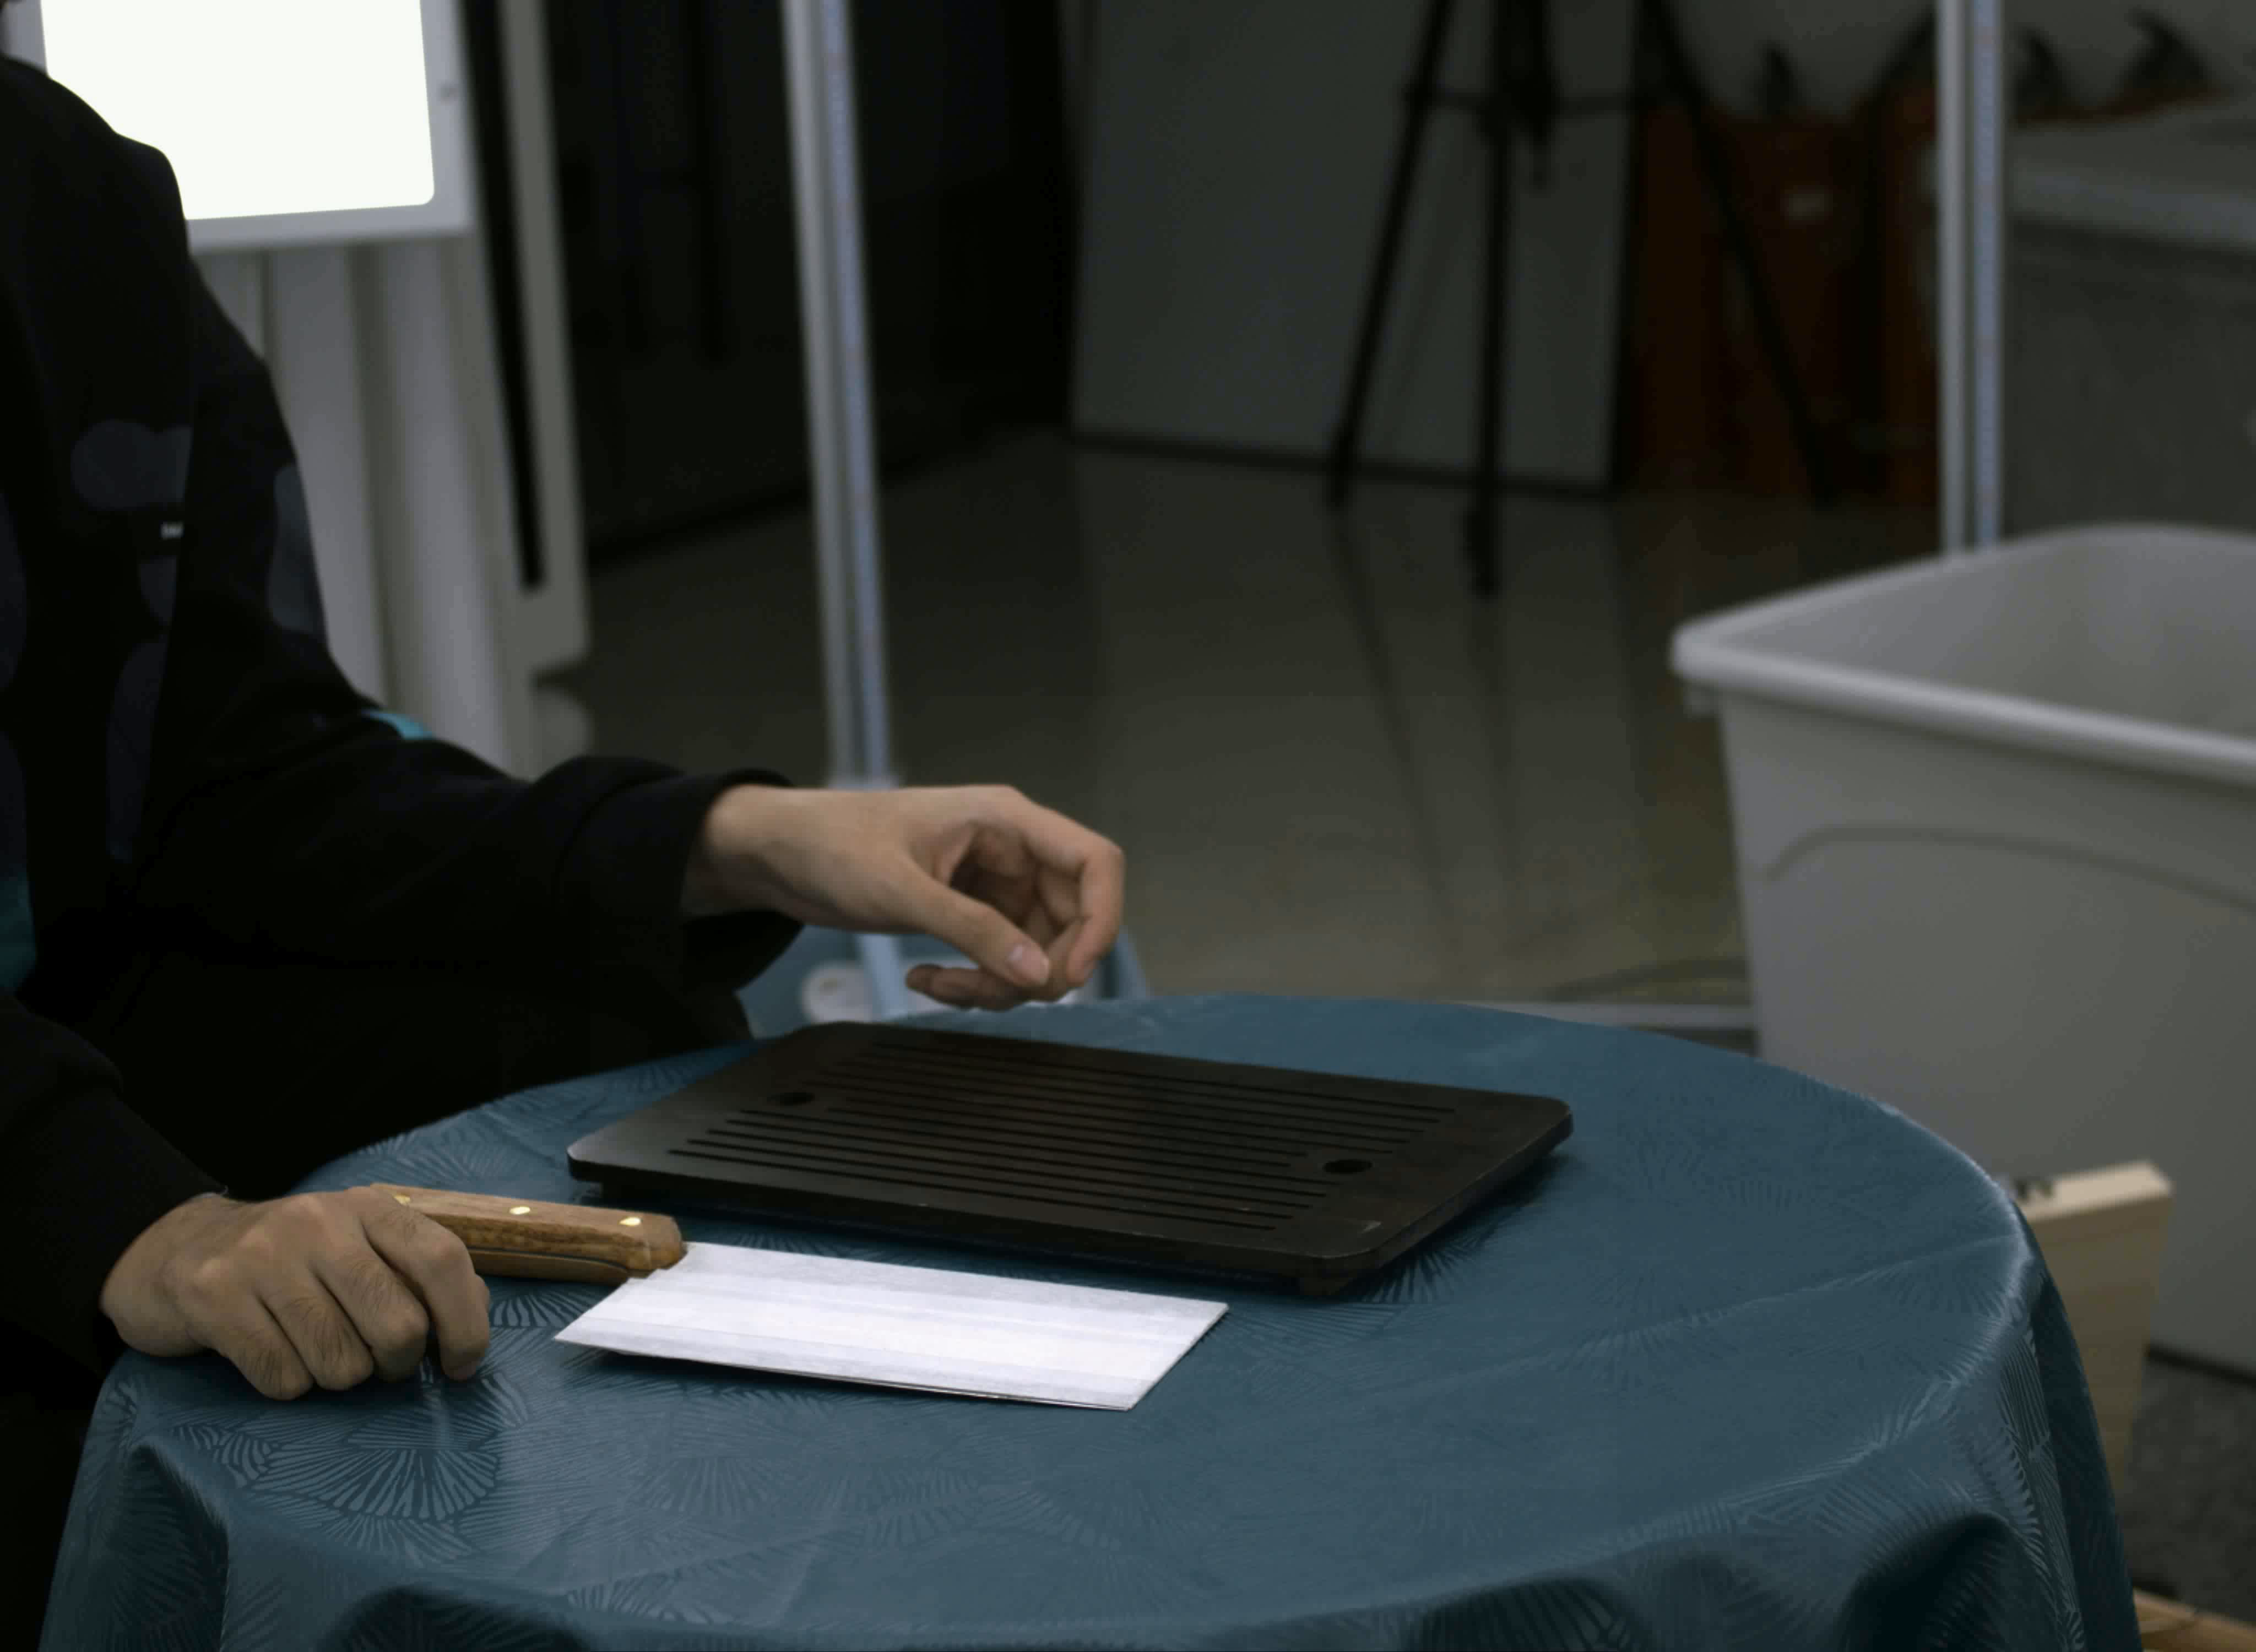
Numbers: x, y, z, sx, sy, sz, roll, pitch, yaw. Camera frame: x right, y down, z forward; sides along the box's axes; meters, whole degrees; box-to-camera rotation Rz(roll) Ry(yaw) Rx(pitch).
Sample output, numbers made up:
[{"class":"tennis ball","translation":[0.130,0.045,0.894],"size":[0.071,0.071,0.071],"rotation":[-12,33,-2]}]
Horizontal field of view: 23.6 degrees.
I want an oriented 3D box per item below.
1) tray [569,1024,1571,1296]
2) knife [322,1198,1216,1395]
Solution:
[{"class":"tray","translation":[-0.020,0.108,1.790],"size":[0.307,0.019,0.167],"rotation":[4,17,31]},{"class":"knife","translation":[-0.123,0.148,1.667],"size":[0.305,0.021,0.092],"rotation":[4,17,22]}]
